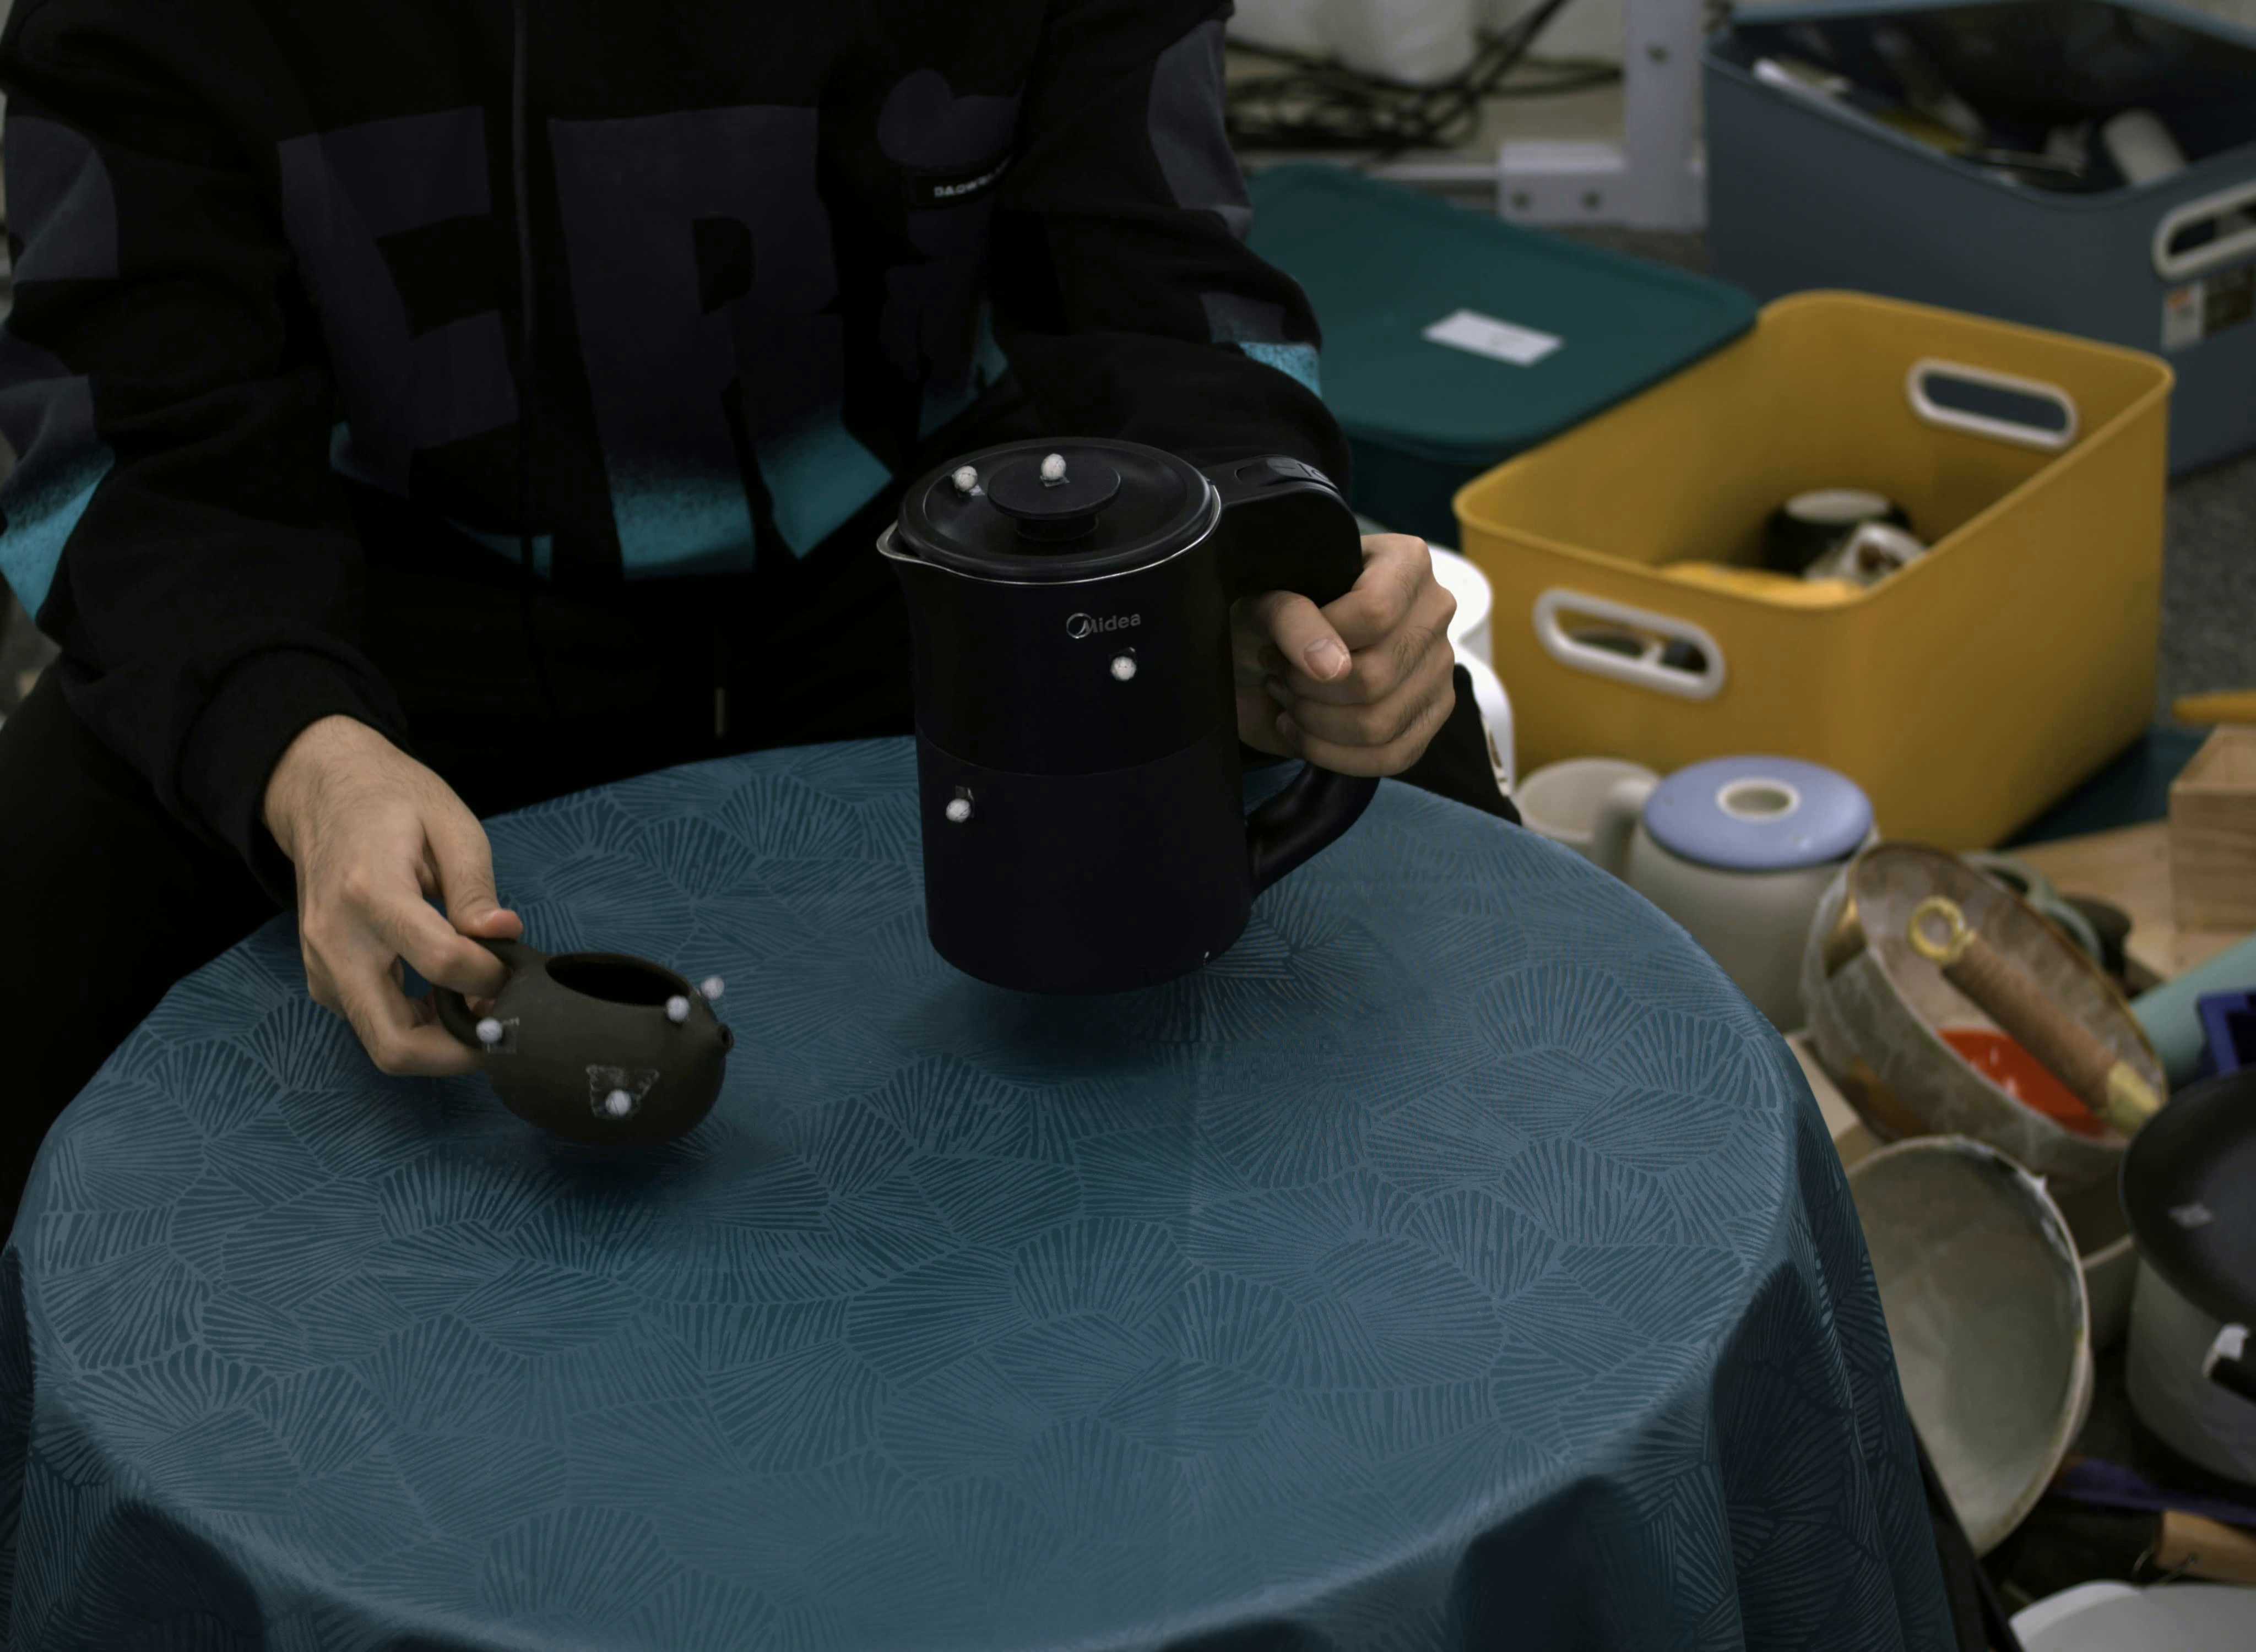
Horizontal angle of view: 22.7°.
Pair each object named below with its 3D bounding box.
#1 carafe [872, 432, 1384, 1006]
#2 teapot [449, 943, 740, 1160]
[{"bbox_3d":[0.002,-0.047,1.925,0.172,0.171,0.115,-14,27,-17],"label":"carafe"},{"bbox_3d":[-0.182,0.073,1.884,0.114,0.052,0.083,25,17,27],"label":"teapot"}]
